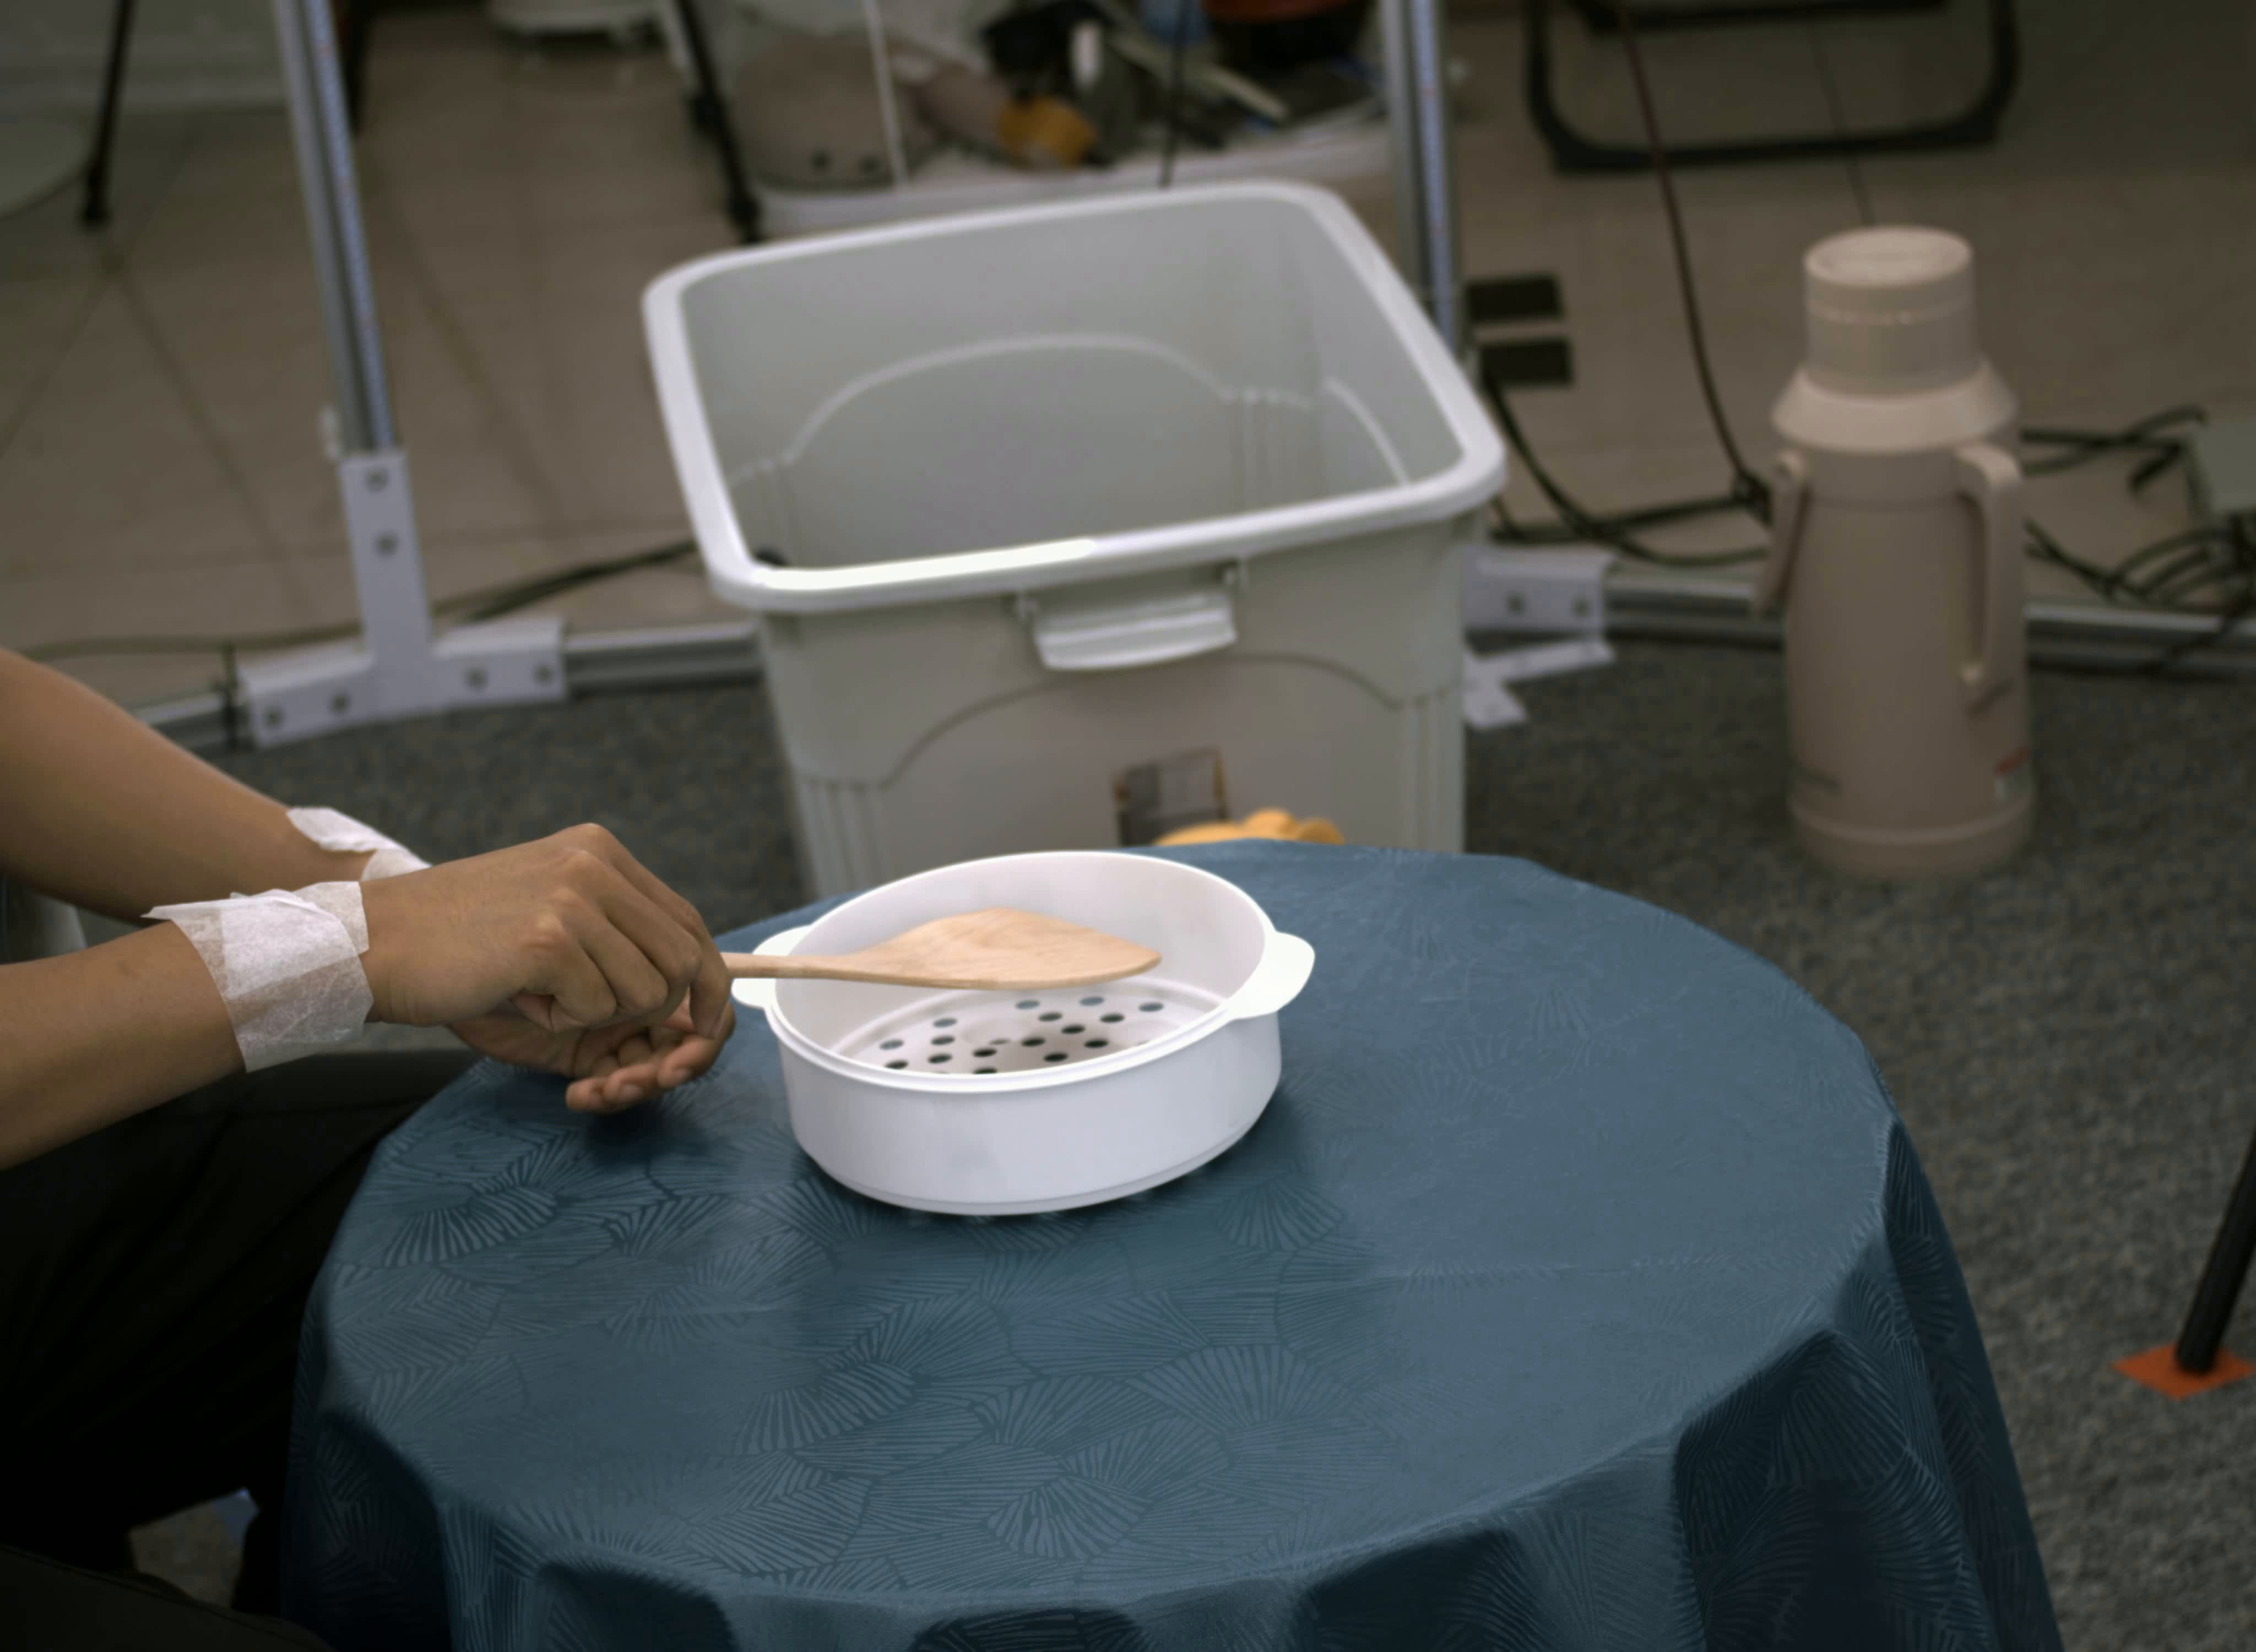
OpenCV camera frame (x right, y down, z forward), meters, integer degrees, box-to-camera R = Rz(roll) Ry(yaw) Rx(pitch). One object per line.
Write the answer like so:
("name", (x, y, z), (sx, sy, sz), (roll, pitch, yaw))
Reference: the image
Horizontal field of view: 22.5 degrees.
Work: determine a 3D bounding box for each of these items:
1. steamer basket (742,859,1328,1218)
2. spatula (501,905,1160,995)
("steamer basket", (-0.034, 0.082, 2.202), (0.230, 0.070, 0.199), (1, 24, 16))
("spatula", (-0.116, 0.048, 2.134), (0.079, 0.016, 0.327), (20, 13, 37))
